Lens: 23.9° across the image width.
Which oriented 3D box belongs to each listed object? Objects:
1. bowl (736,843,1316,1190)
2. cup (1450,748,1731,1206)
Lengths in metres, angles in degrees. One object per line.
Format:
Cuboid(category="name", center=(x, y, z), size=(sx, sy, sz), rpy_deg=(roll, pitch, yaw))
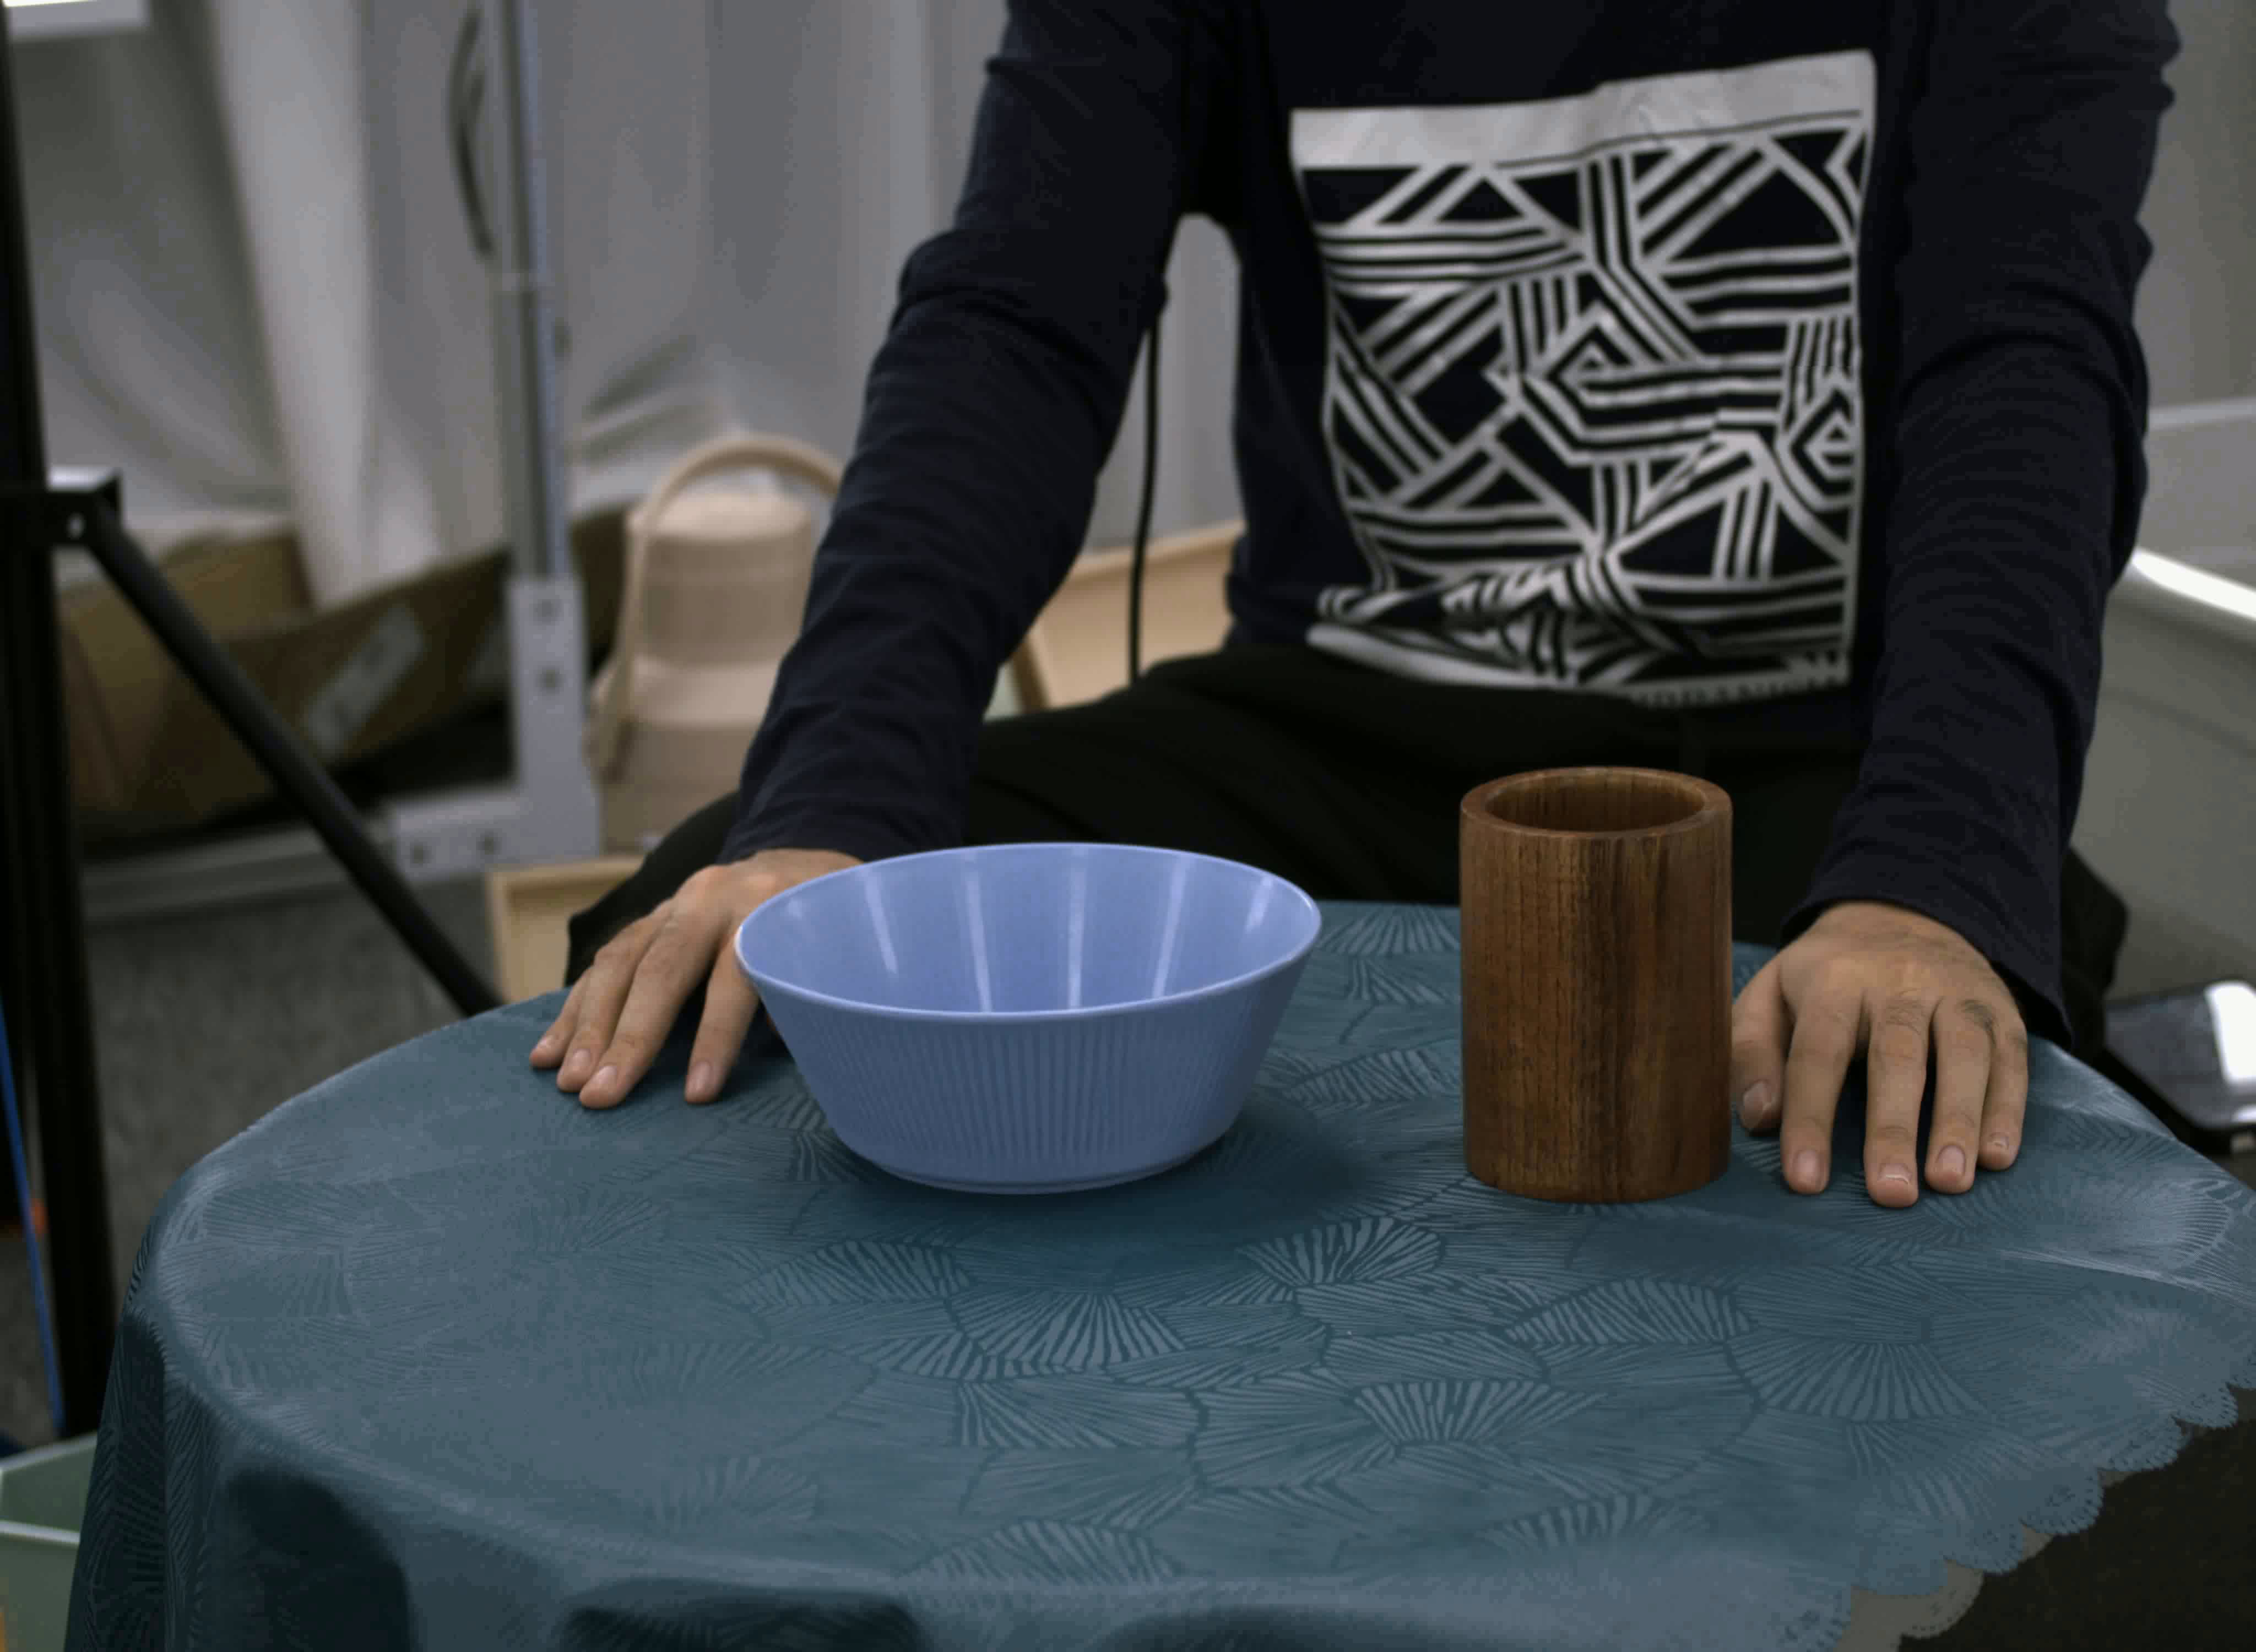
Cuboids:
Cuboid(category="bowl", center=(-0.030, 0.060, 1.606), size=(0.175, 0.070, 0.177), rpy_deg=(-2, 15, -1))
Cuboid(category="cup", center=(0.135, 0.044, 1.554), size=(0.087, 0.118, 0.088), rpy_deg=(0, 13, -1))
